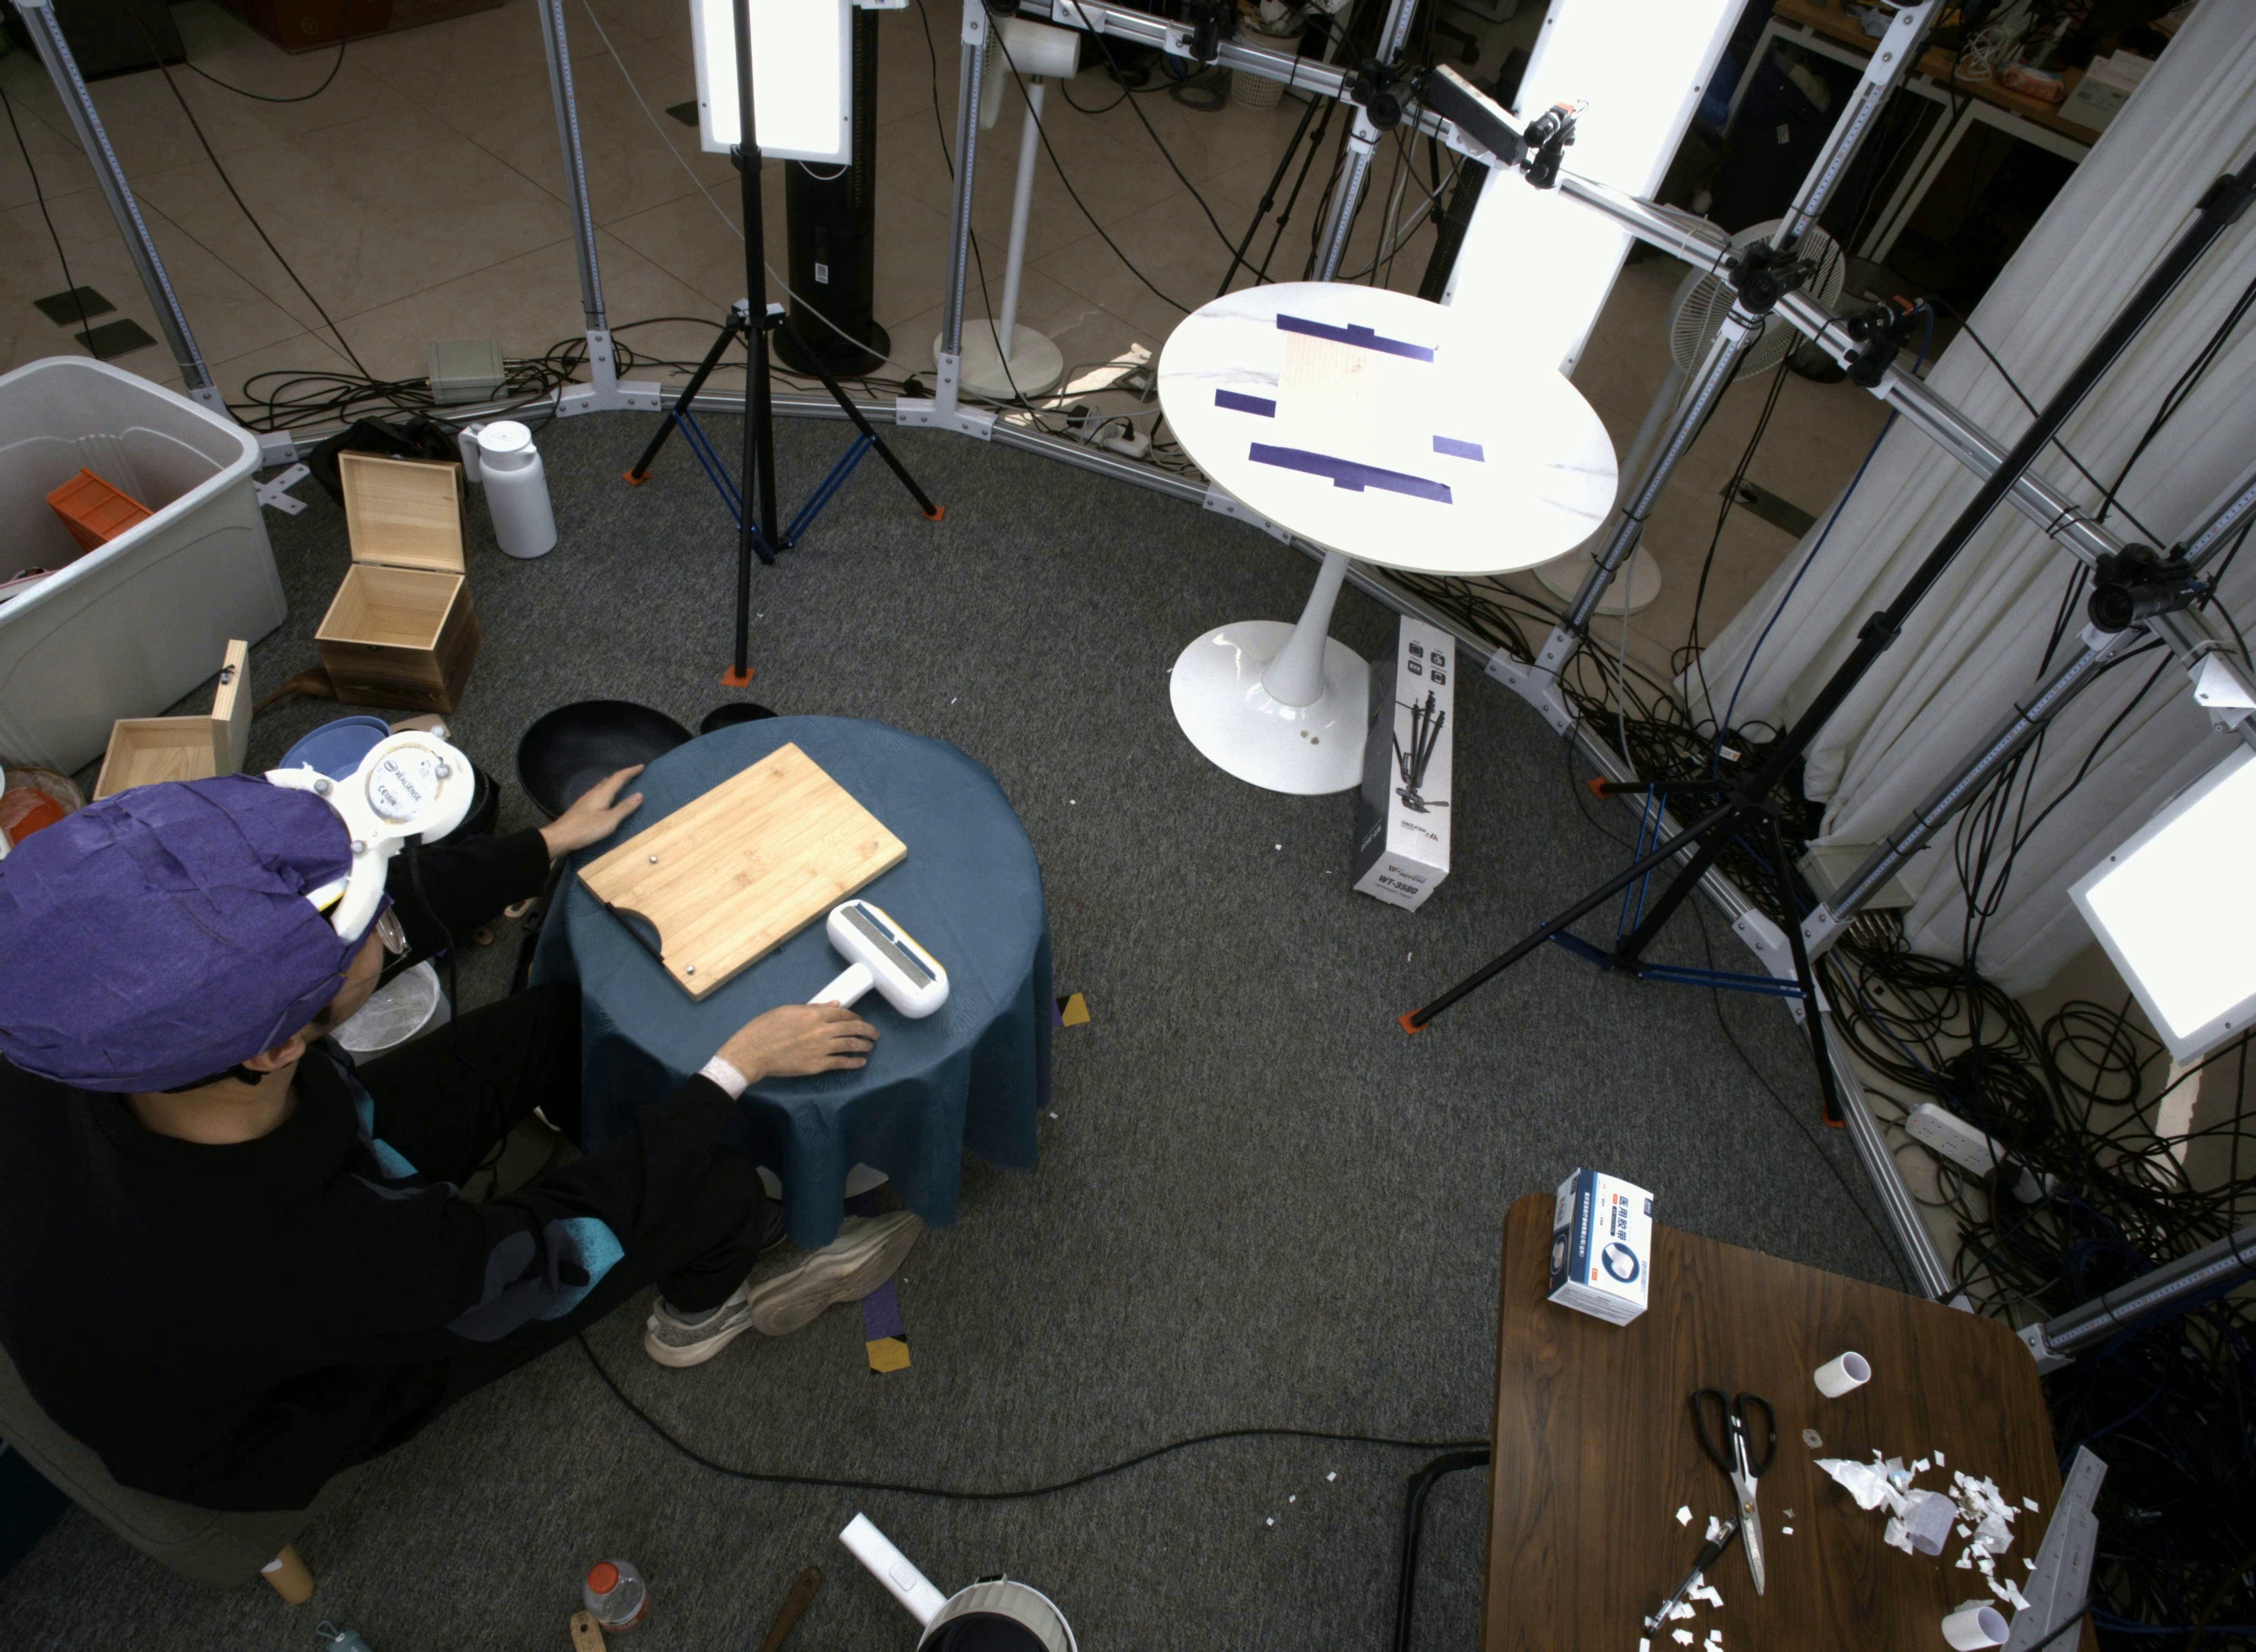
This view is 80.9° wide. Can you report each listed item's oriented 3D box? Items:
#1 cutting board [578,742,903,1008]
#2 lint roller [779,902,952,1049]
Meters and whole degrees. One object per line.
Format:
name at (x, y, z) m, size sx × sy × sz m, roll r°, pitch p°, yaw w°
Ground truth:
cutting board at (-0.495, 0.051, 1.663) m, size 0.245 × 0.024 × 0.349 m, roll 40°, pitch 54°, yaw 15°
lint roller at (-0.335, 0.194, 1.566) m, size 0.193 × 0.076 × 0.187 m, roll -31°, pitch 61°, yaw -29°
